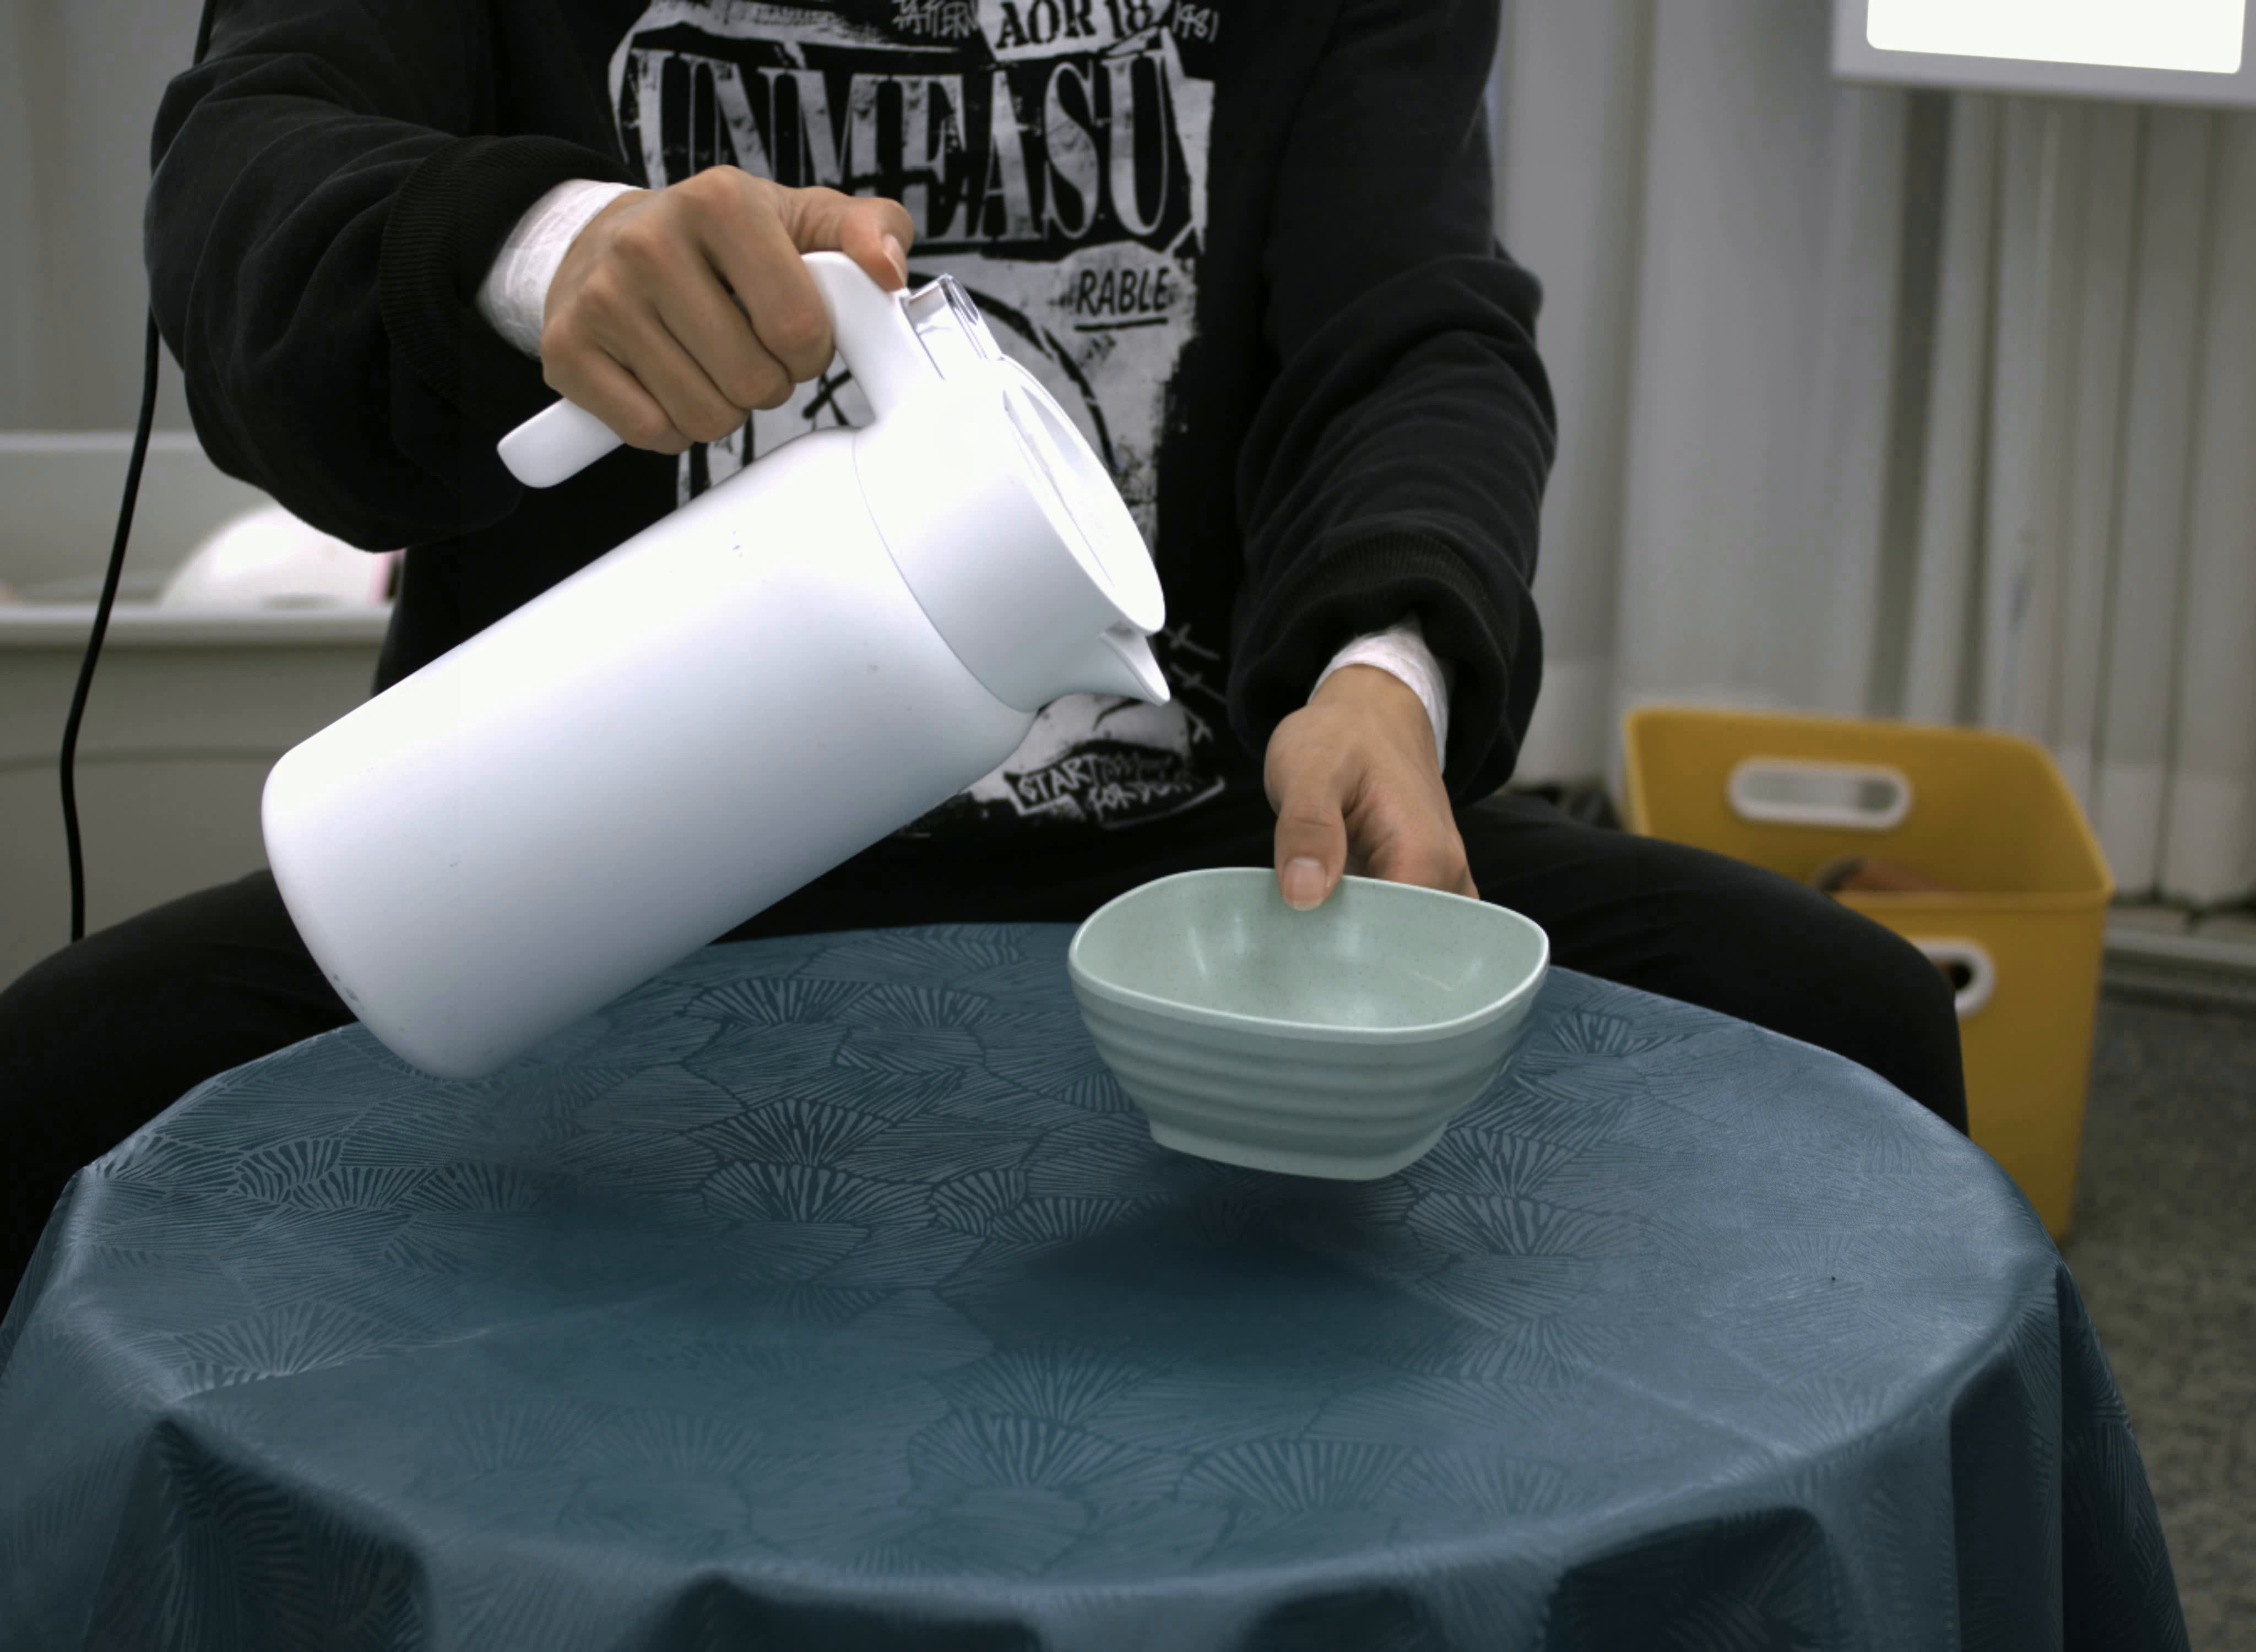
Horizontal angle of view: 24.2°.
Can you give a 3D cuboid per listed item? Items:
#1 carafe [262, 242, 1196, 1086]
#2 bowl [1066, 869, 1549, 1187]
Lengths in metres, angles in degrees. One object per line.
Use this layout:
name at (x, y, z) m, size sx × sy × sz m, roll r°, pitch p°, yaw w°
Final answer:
carafe at (-0.133, -0.049, 1.580) m, size 0.268 × 0.173 × 0.124 m, roll -32°, pitch 3°, yaw 15°
bowl at (0.053, 0.064, 1.575) m, size 0.151 × 0.059 × 0.150 m, roll 3°, pitch 18°, yaw -1°
